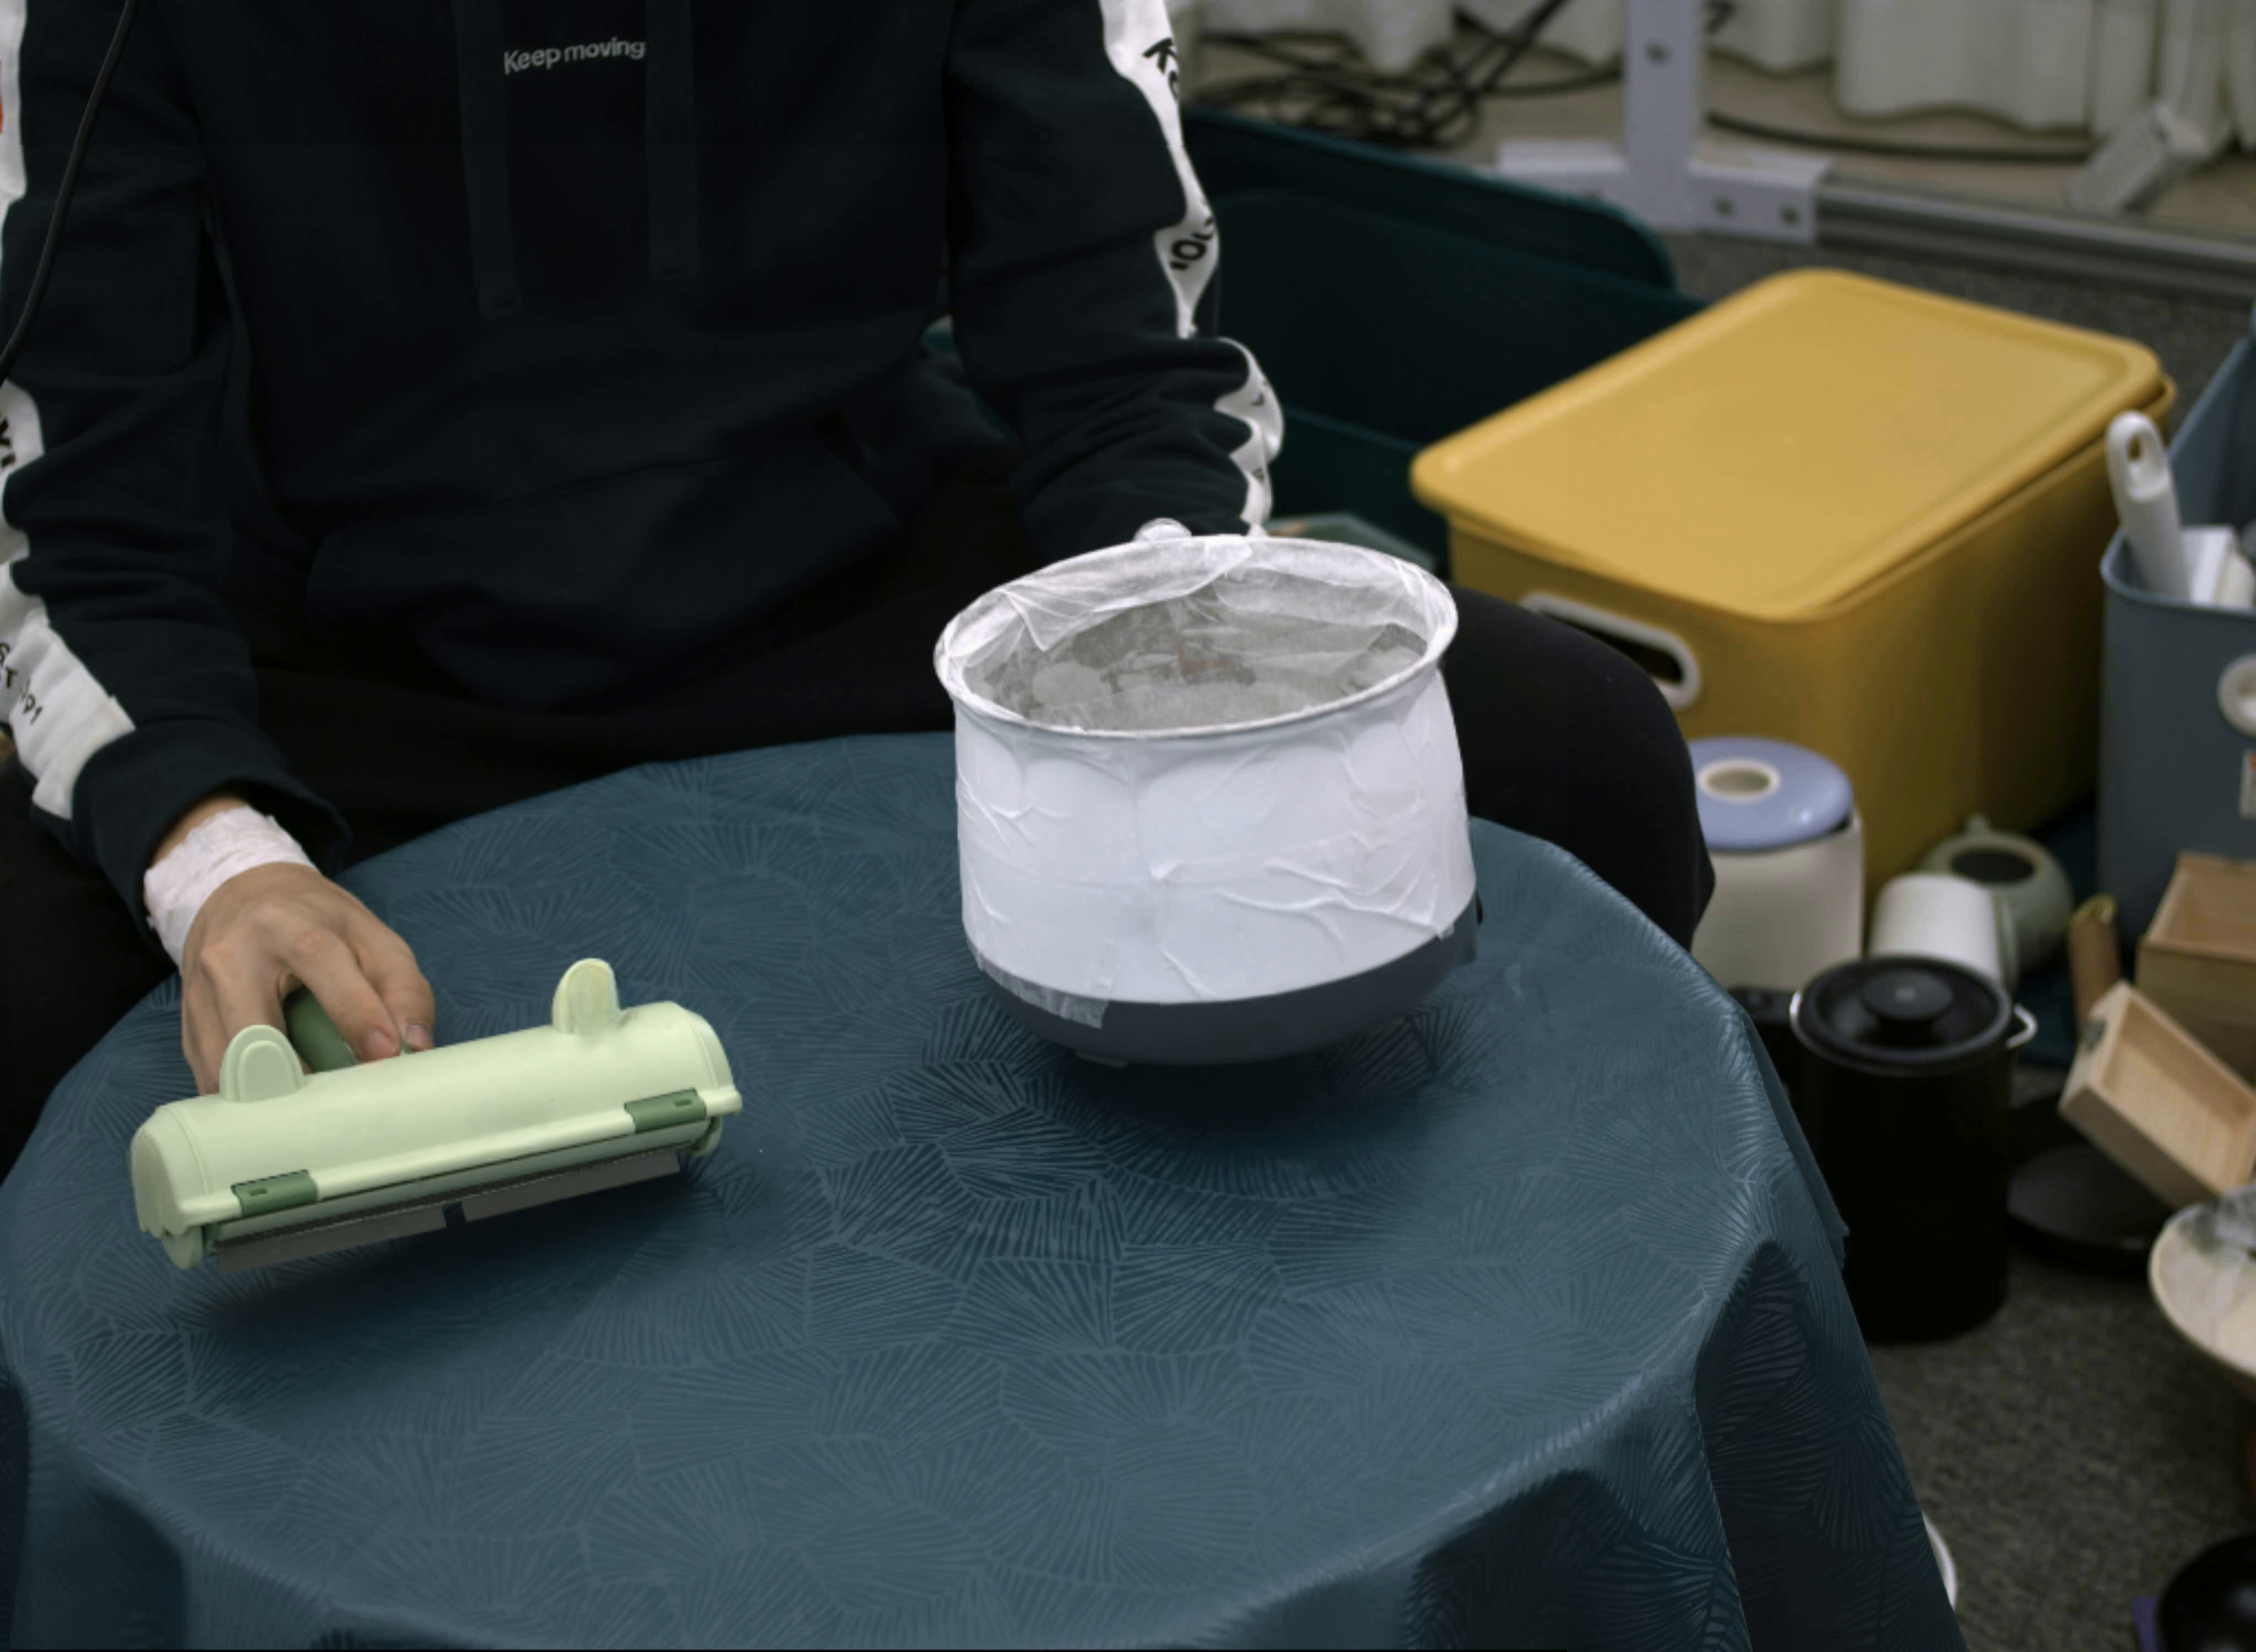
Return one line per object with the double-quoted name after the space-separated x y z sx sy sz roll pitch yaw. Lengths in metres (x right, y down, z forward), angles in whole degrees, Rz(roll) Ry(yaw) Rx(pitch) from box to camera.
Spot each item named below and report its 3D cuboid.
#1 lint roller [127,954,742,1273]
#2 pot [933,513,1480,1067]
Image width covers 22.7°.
-0.251 0.071 1.871 0.199 0.081 0.184 -11 31 -27 "lint roller"
0.025 -0.019 1.930 0.178 0.135 0.236 -7 23 -5 "pot"
